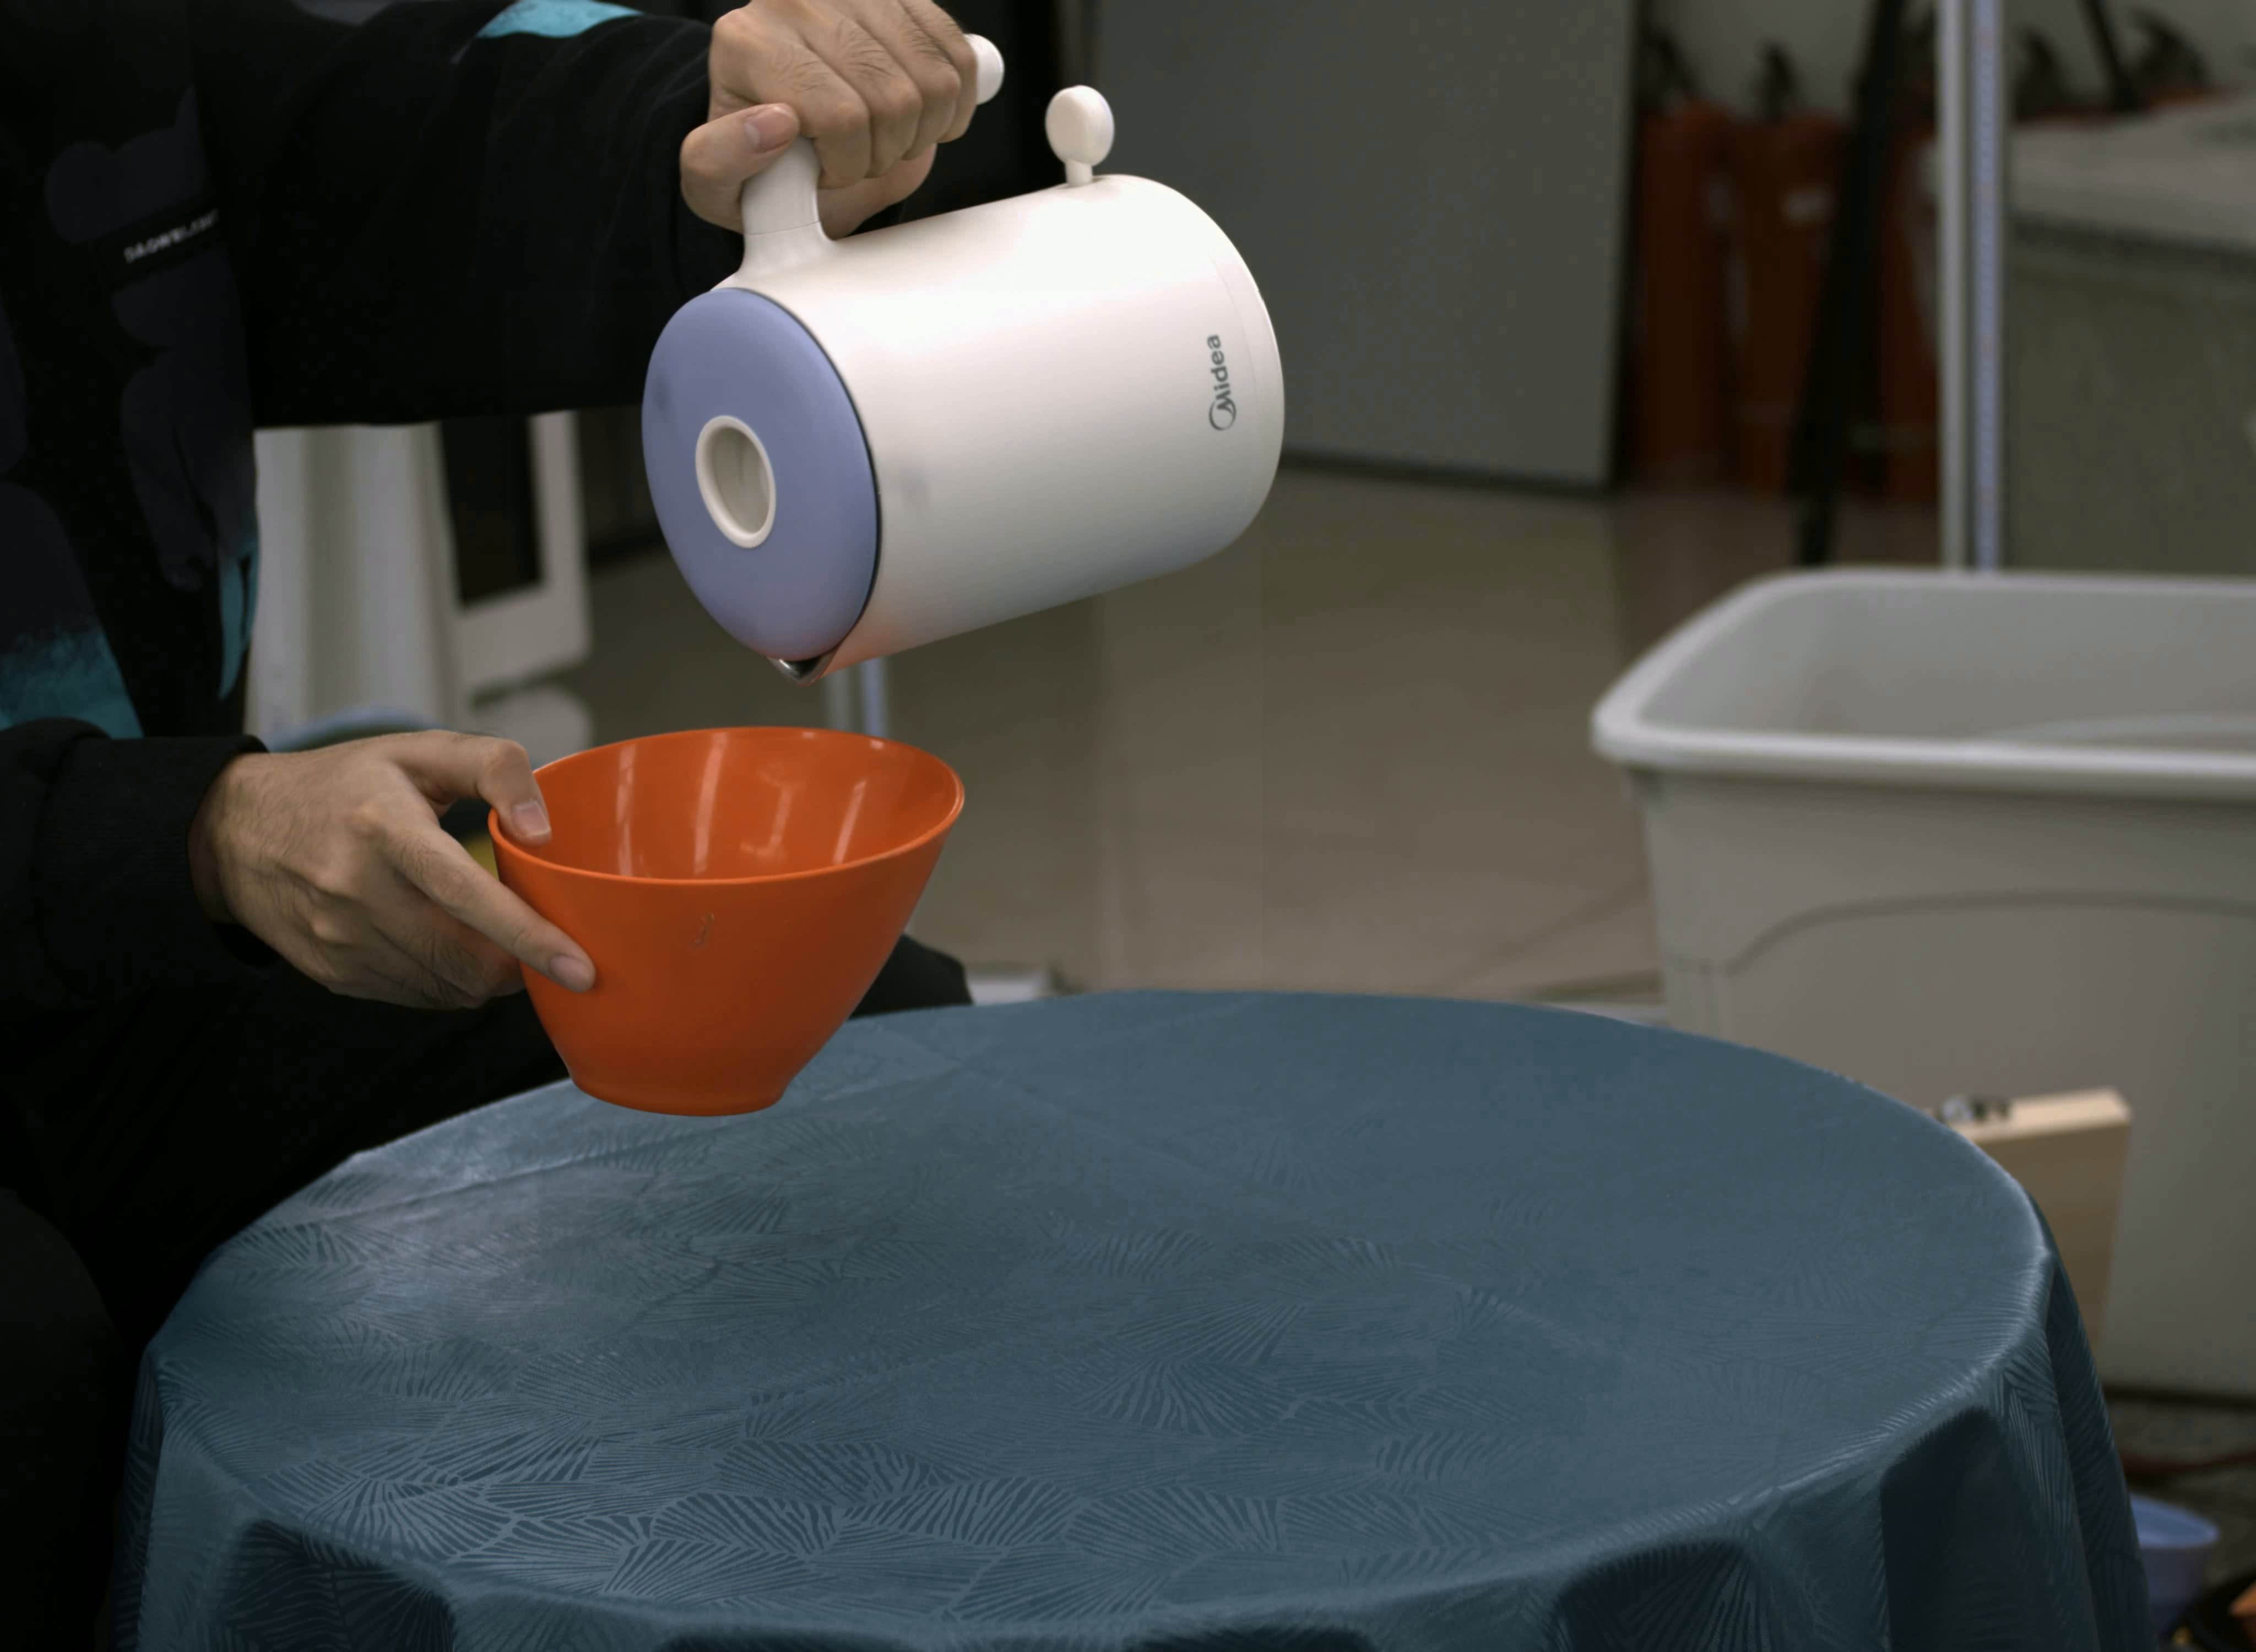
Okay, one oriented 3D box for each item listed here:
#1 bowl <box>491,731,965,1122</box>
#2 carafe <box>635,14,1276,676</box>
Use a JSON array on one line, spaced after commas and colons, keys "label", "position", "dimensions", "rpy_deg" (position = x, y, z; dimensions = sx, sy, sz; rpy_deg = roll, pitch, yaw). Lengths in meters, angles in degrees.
[{"label": "bowl", "position": [-0.127, 0.032, 1.686], "dimensions": [0.146, 0.106, 0.148], "rpy_deg": [5, 12, -2]}, {"label": "carafe", "position": [-0.058, -0.157, 1.711], "dimensions": [0.178, 0.193, 0.133], "rpy_deg": [-15, 10, -37]}]
